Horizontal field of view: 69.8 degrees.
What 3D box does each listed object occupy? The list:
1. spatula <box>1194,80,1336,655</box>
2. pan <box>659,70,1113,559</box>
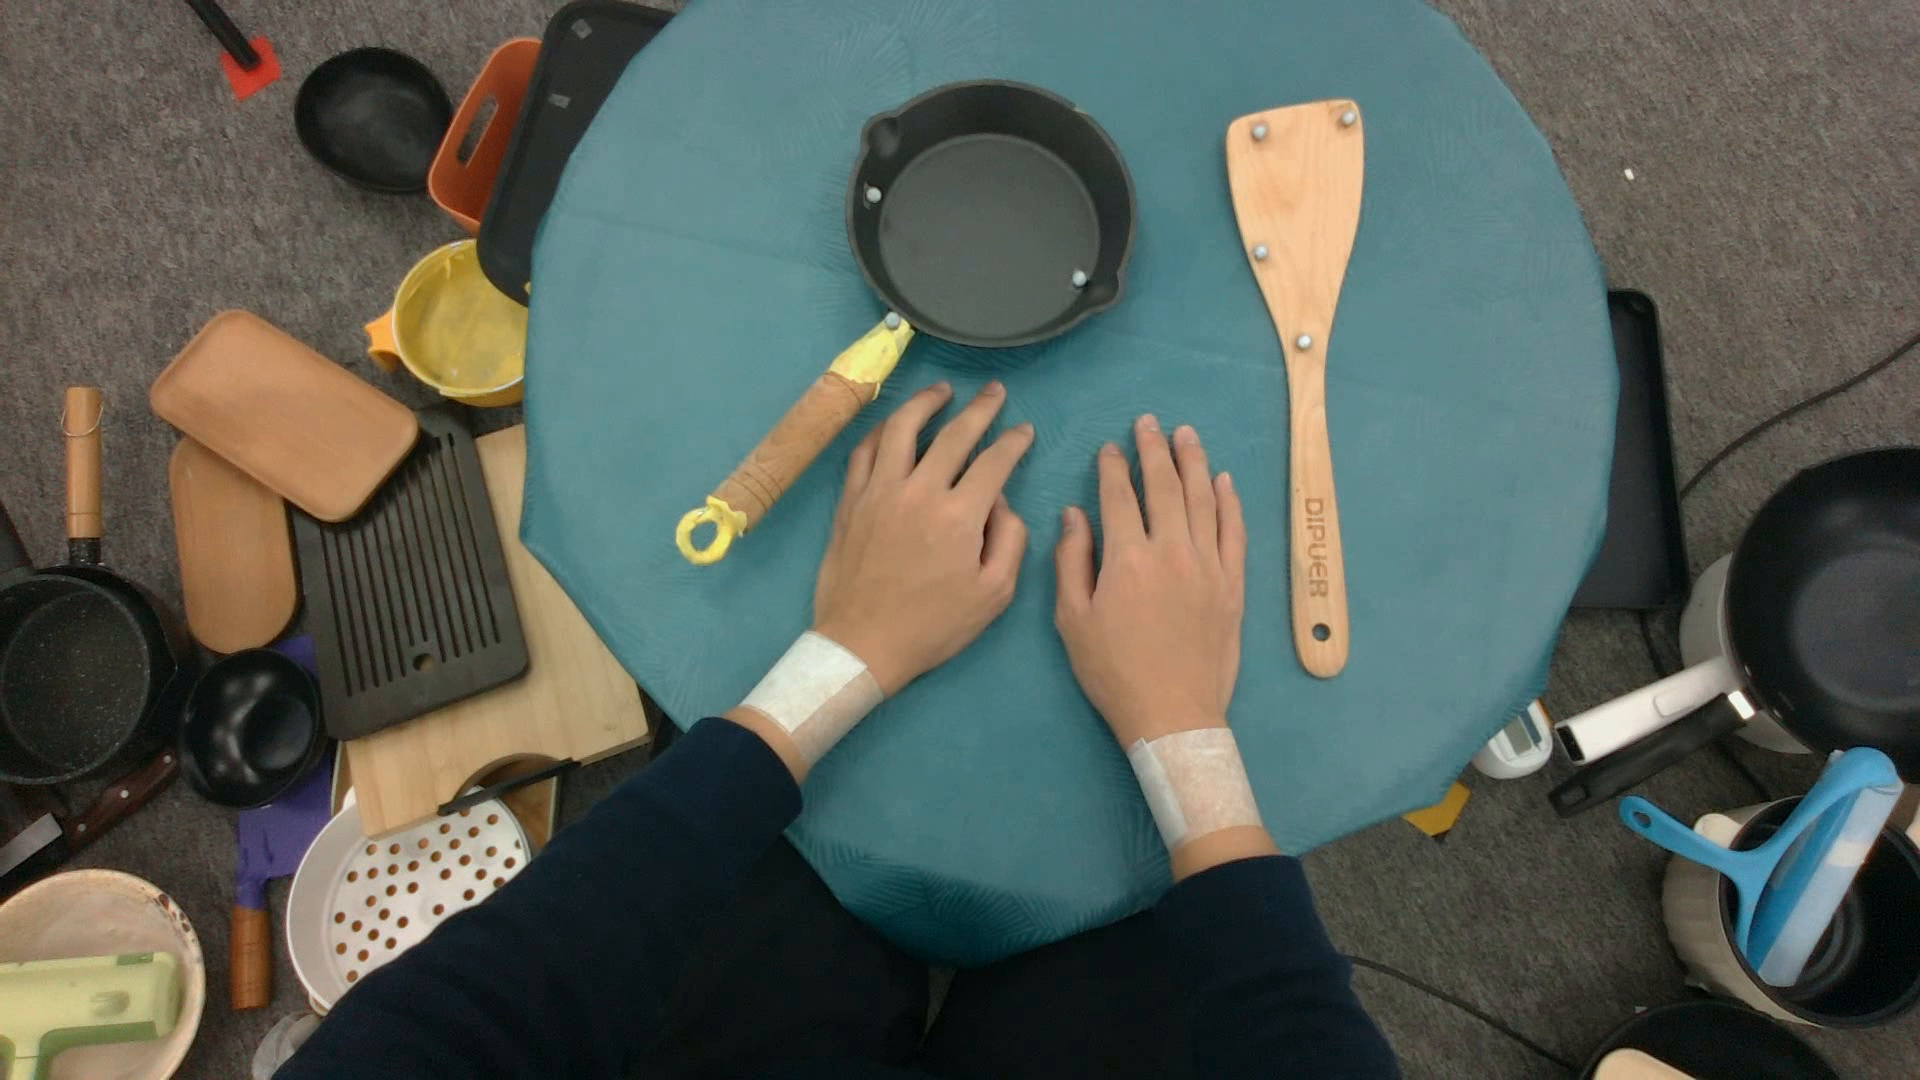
[{"bbox_3d":[0.177,-0.100,0.750,0.080,0.016,0.328,-1,76,-2],"label":"spatula"},{"bbox_3d":[-0.048,-0.116,0.726,0.169,0.049,0.325,37,76,7],"label":"pan"}]
